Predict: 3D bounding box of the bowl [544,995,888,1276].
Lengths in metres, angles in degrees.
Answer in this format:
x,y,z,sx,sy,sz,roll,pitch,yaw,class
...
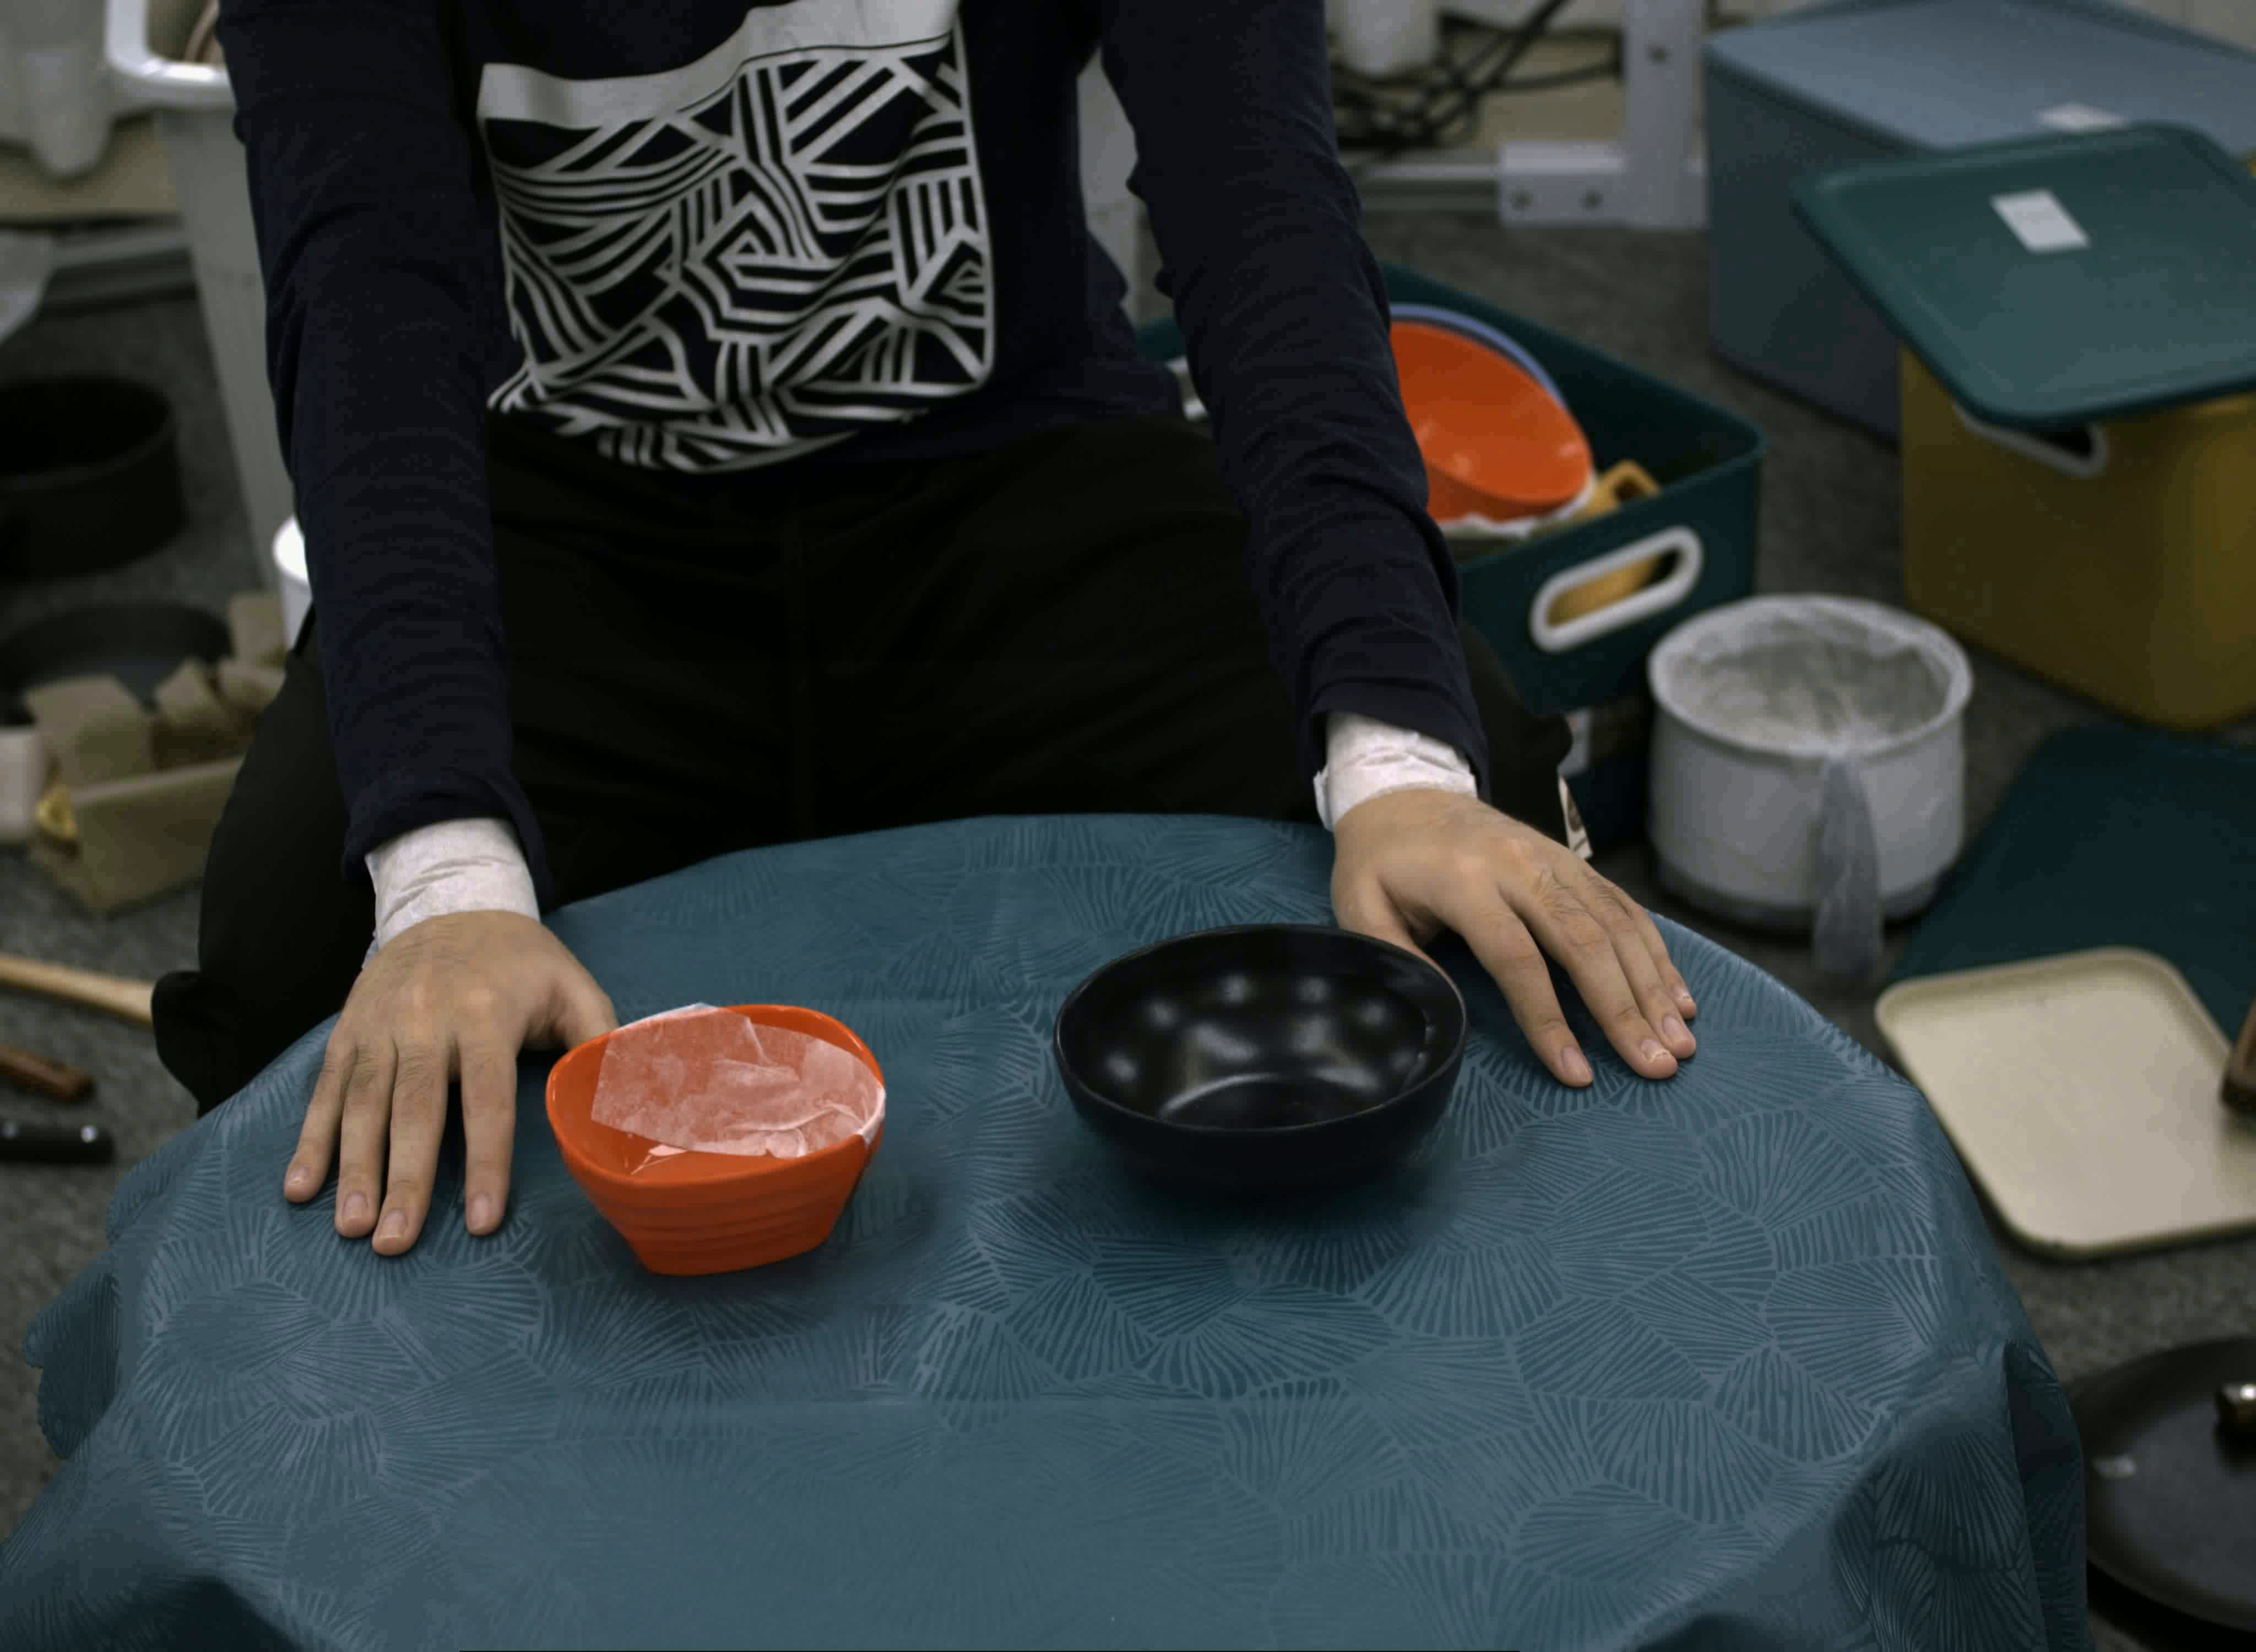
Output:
x,y,z,sx,sy,sz,roll,pitch,yaw,class
-0.134,0.107,1.846,0.118,0.051,0.121,-2,29,2,bowl

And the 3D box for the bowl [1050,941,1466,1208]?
x,y,z,sx,sy,sz,roll,pitch,yaw,class
0.044,0.089,1.873,0.139,0.049,0.142,-3,23,2,bowl
